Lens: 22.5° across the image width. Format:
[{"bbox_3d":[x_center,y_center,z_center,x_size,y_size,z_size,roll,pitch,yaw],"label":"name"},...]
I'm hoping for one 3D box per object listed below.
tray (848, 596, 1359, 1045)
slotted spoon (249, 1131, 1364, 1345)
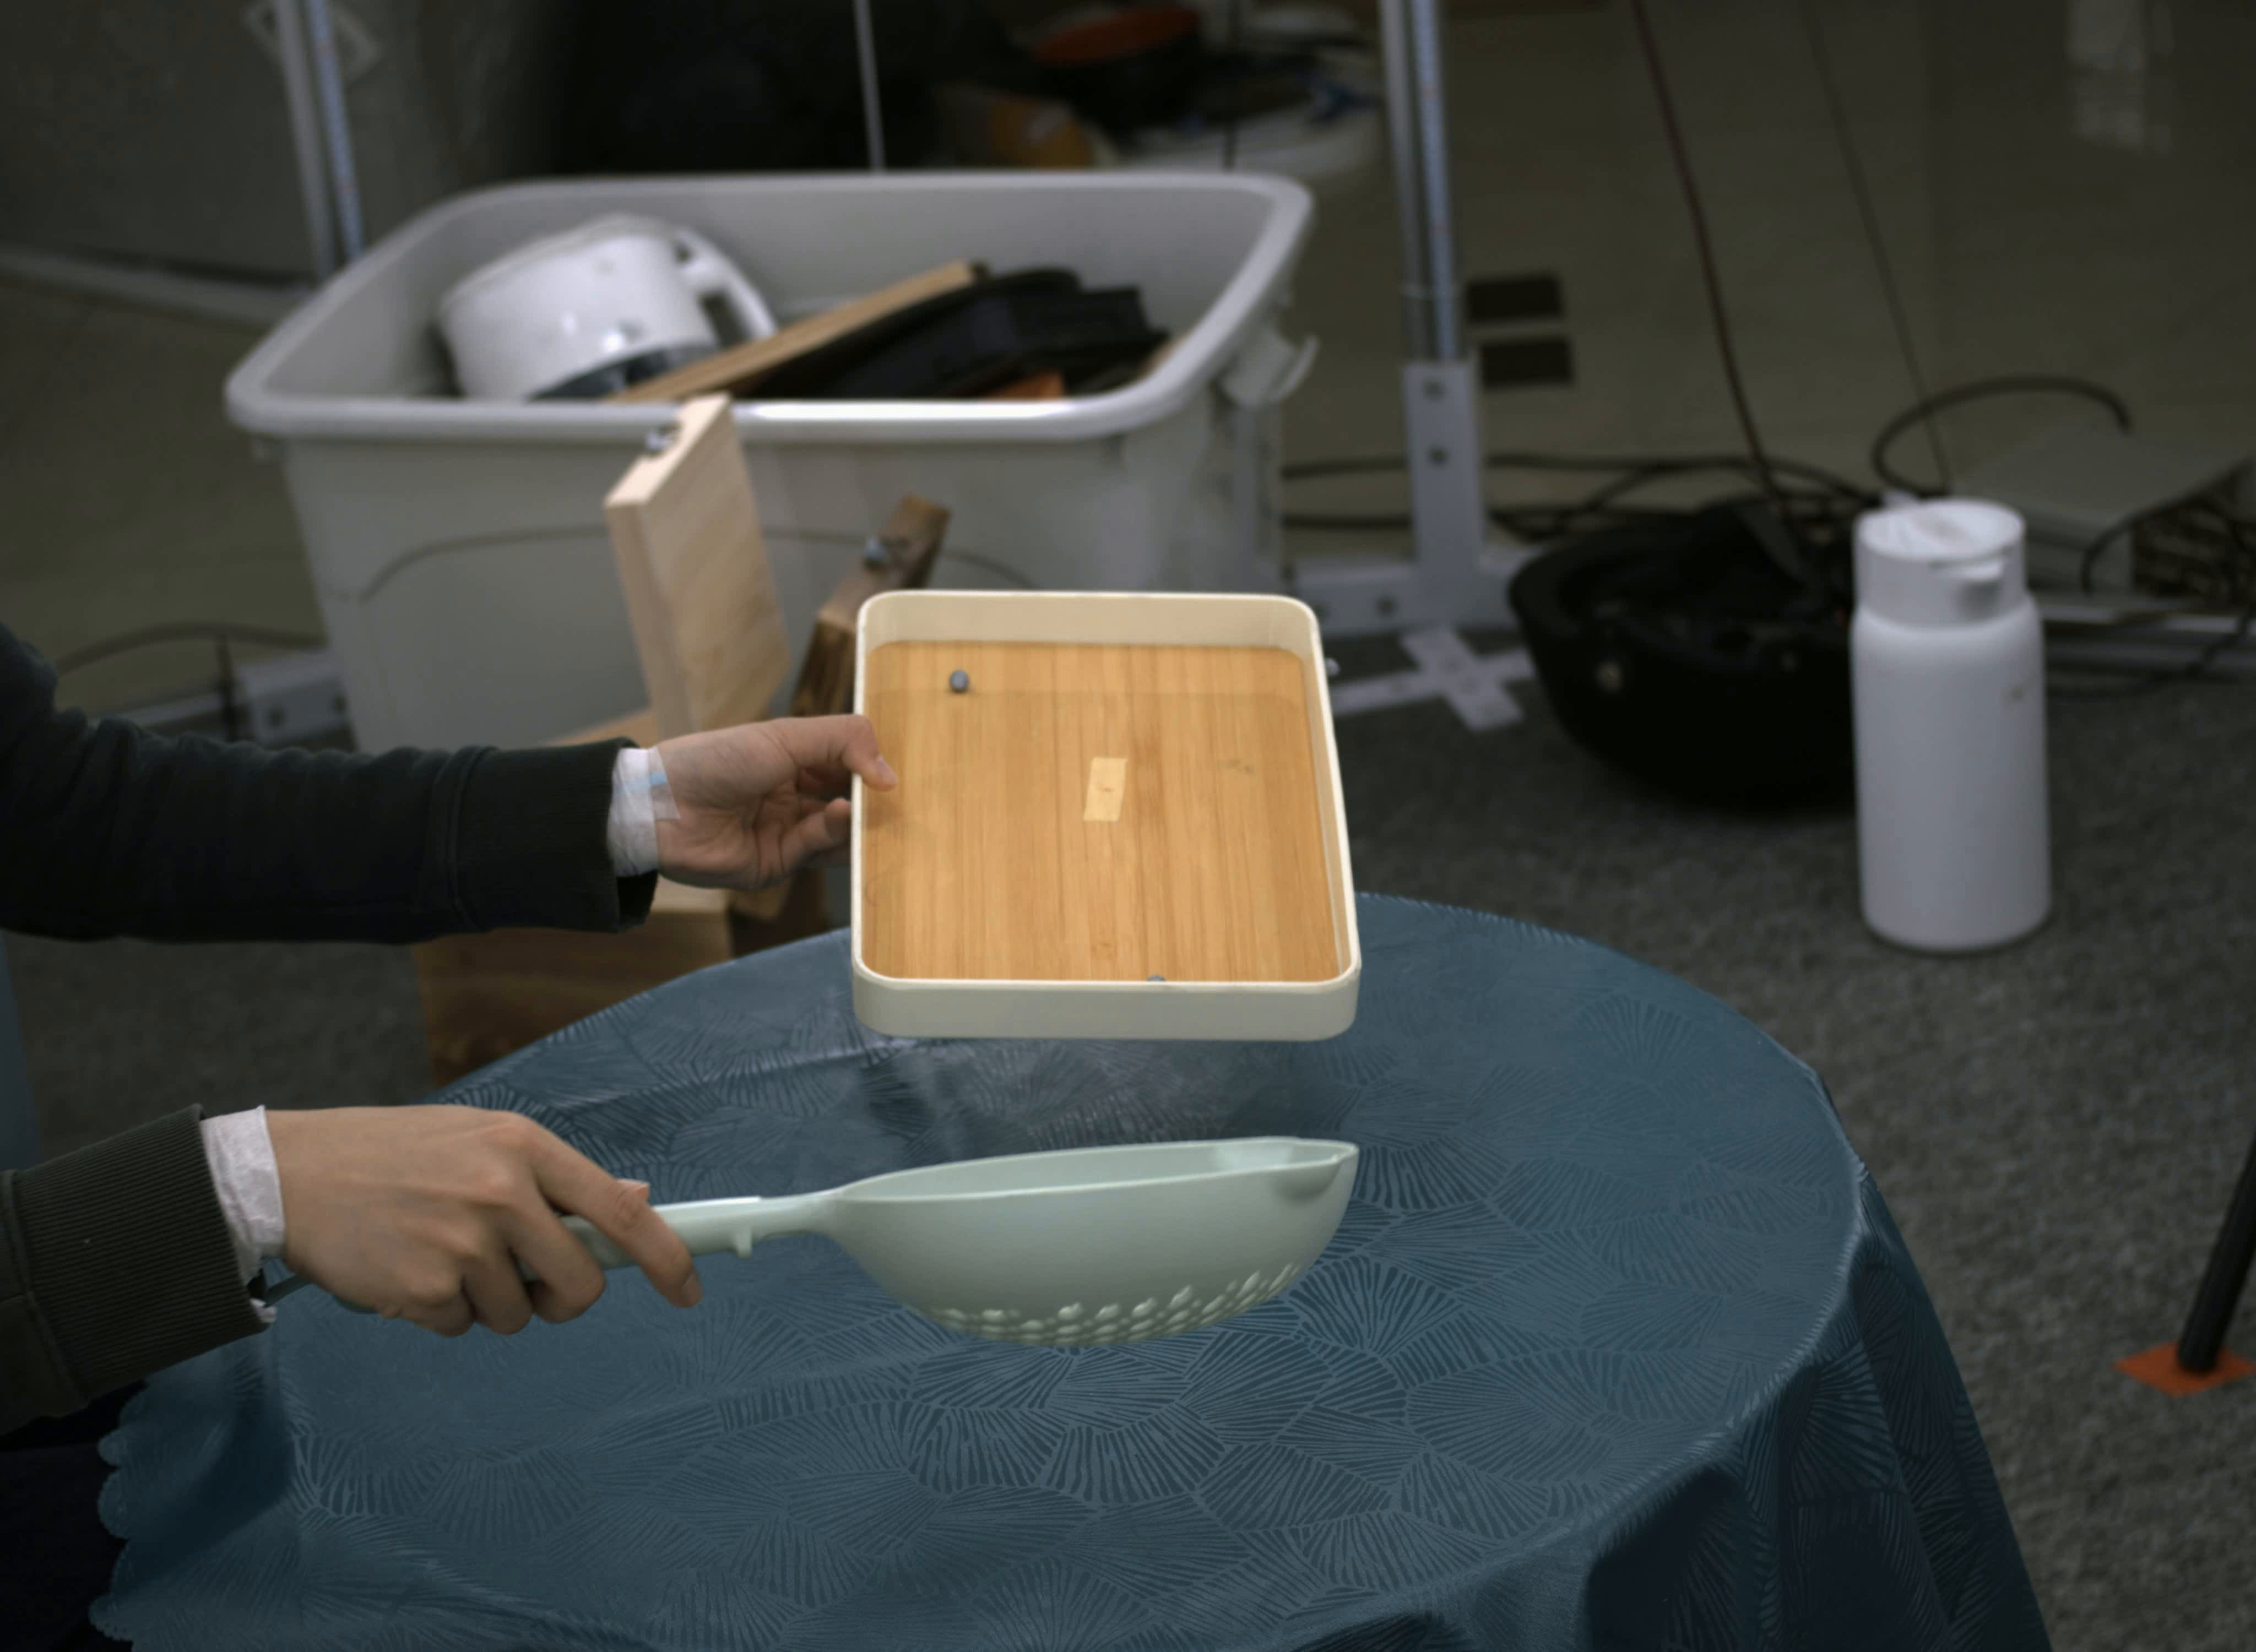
[{"bbox_3d":[-0.013,-0.006,2.217,0.191,0.028,0.295,1,32,-2],"label":"tray"},{"bbox_3d":[-0.103,0.131,1.841,0.358,0.075,0.169,3,0,-6],"label":"slotted spoon"}]
